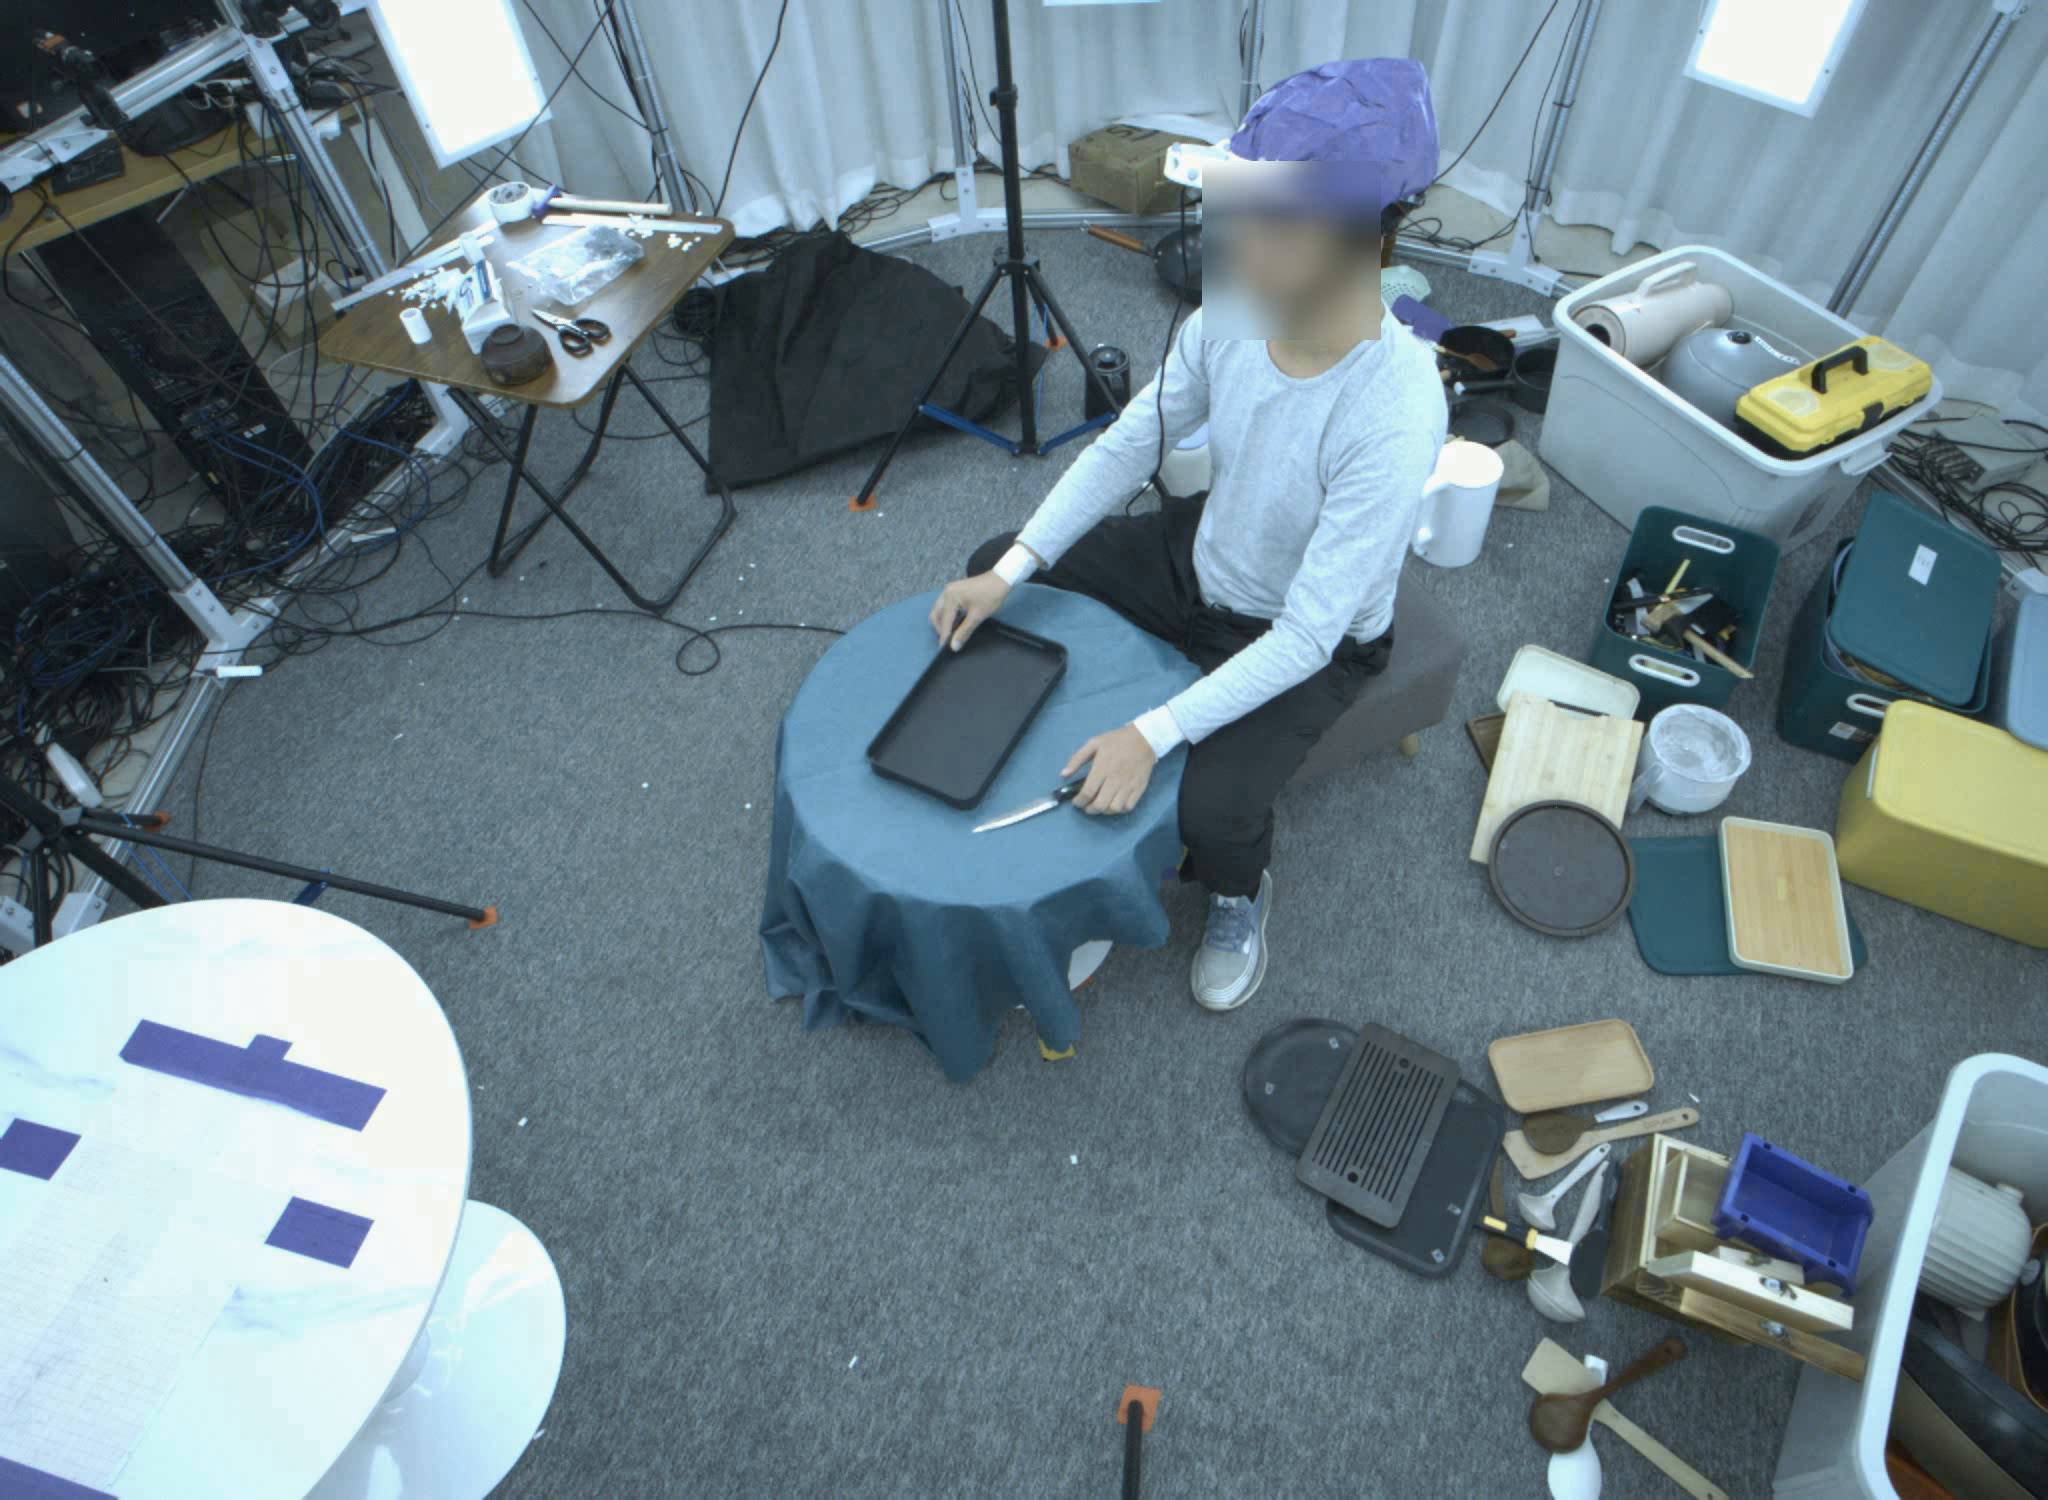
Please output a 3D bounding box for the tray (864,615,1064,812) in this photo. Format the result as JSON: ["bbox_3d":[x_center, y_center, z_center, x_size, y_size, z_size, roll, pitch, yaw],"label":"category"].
[{"bbox_3d":[-0.084,-0.060,1.818,0.182,0.037,0.318,22,57,15],"label":"tray"}]

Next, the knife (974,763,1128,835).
[{"bbox_3d":[0.036,0.069,1.737,0.239,0.016,0.024,-23,52,-11],"label":"knife"}]
